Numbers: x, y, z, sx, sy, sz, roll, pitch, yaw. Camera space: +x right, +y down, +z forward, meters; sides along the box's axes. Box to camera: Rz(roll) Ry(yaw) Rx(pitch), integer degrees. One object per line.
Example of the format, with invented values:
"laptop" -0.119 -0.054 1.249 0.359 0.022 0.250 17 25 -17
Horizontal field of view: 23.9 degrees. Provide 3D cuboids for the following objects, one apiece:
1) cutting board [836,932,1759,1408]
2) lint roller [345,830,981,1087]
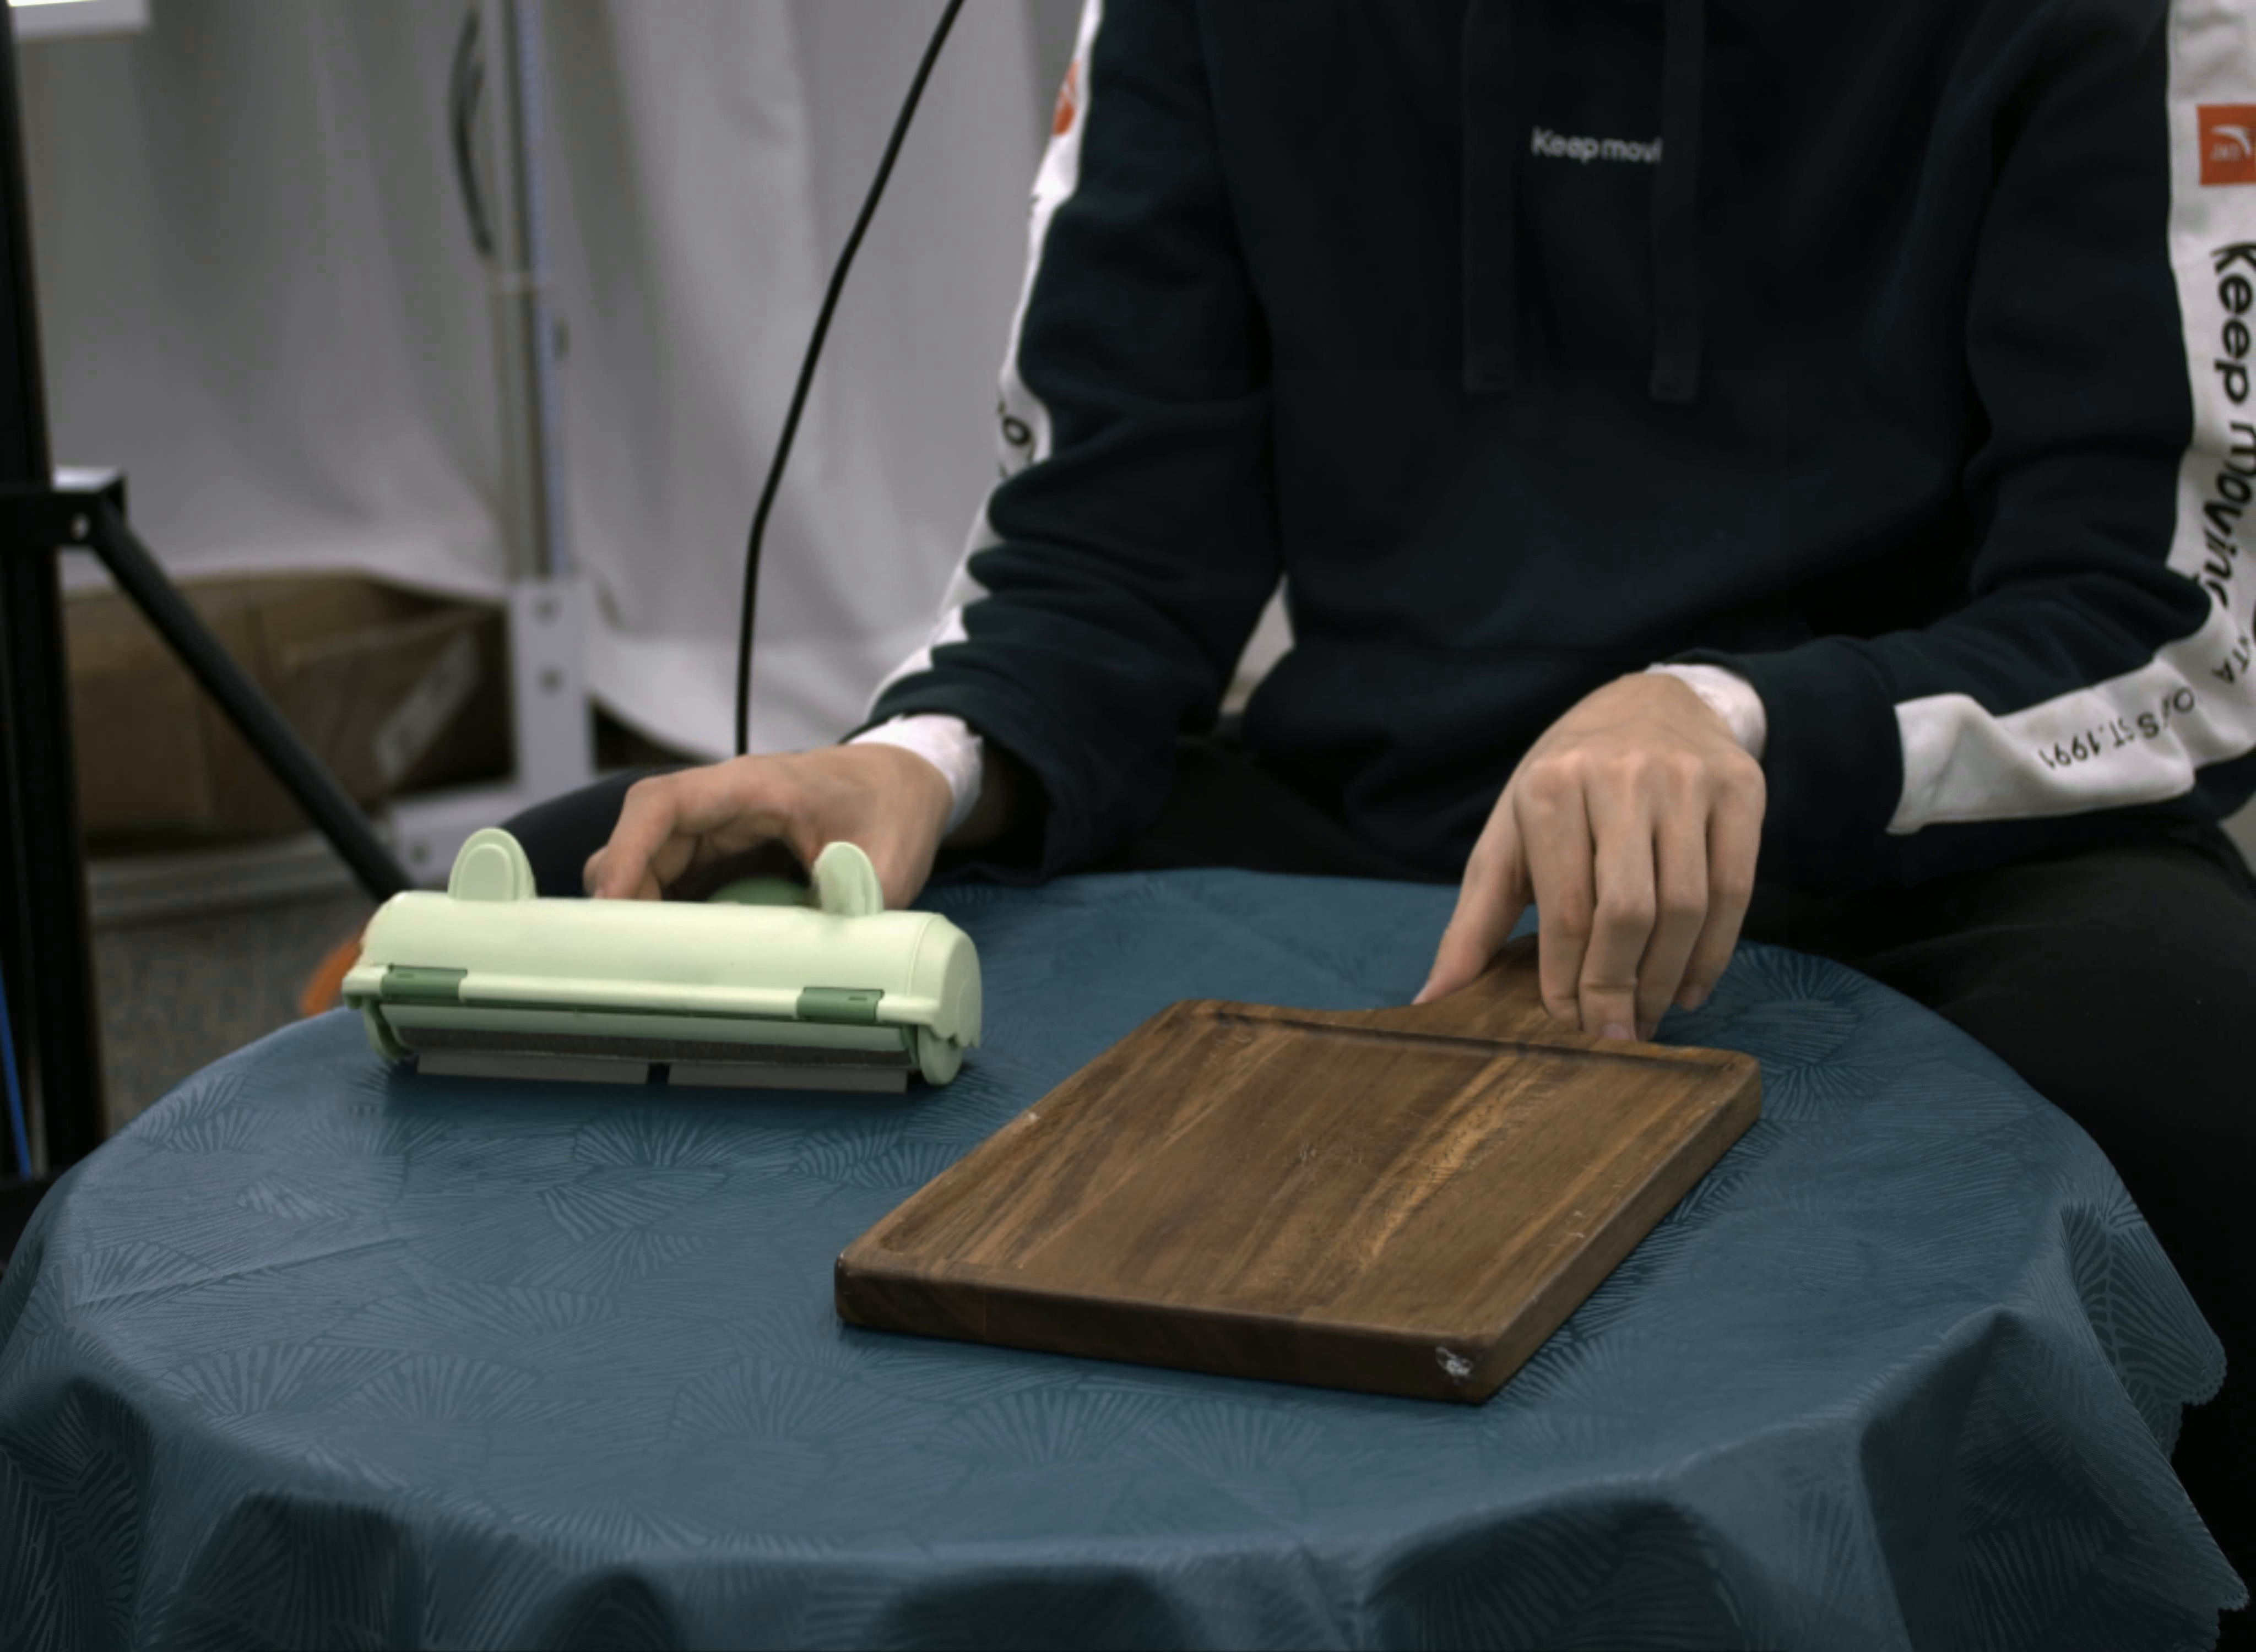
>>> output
"cutting board" 0.074 0.091 1.568 0.204 0.023 0.347 4 17 23
"lint roller" -0.133 0.026 1.730 0.200 0.082 0.182 2 21 16
